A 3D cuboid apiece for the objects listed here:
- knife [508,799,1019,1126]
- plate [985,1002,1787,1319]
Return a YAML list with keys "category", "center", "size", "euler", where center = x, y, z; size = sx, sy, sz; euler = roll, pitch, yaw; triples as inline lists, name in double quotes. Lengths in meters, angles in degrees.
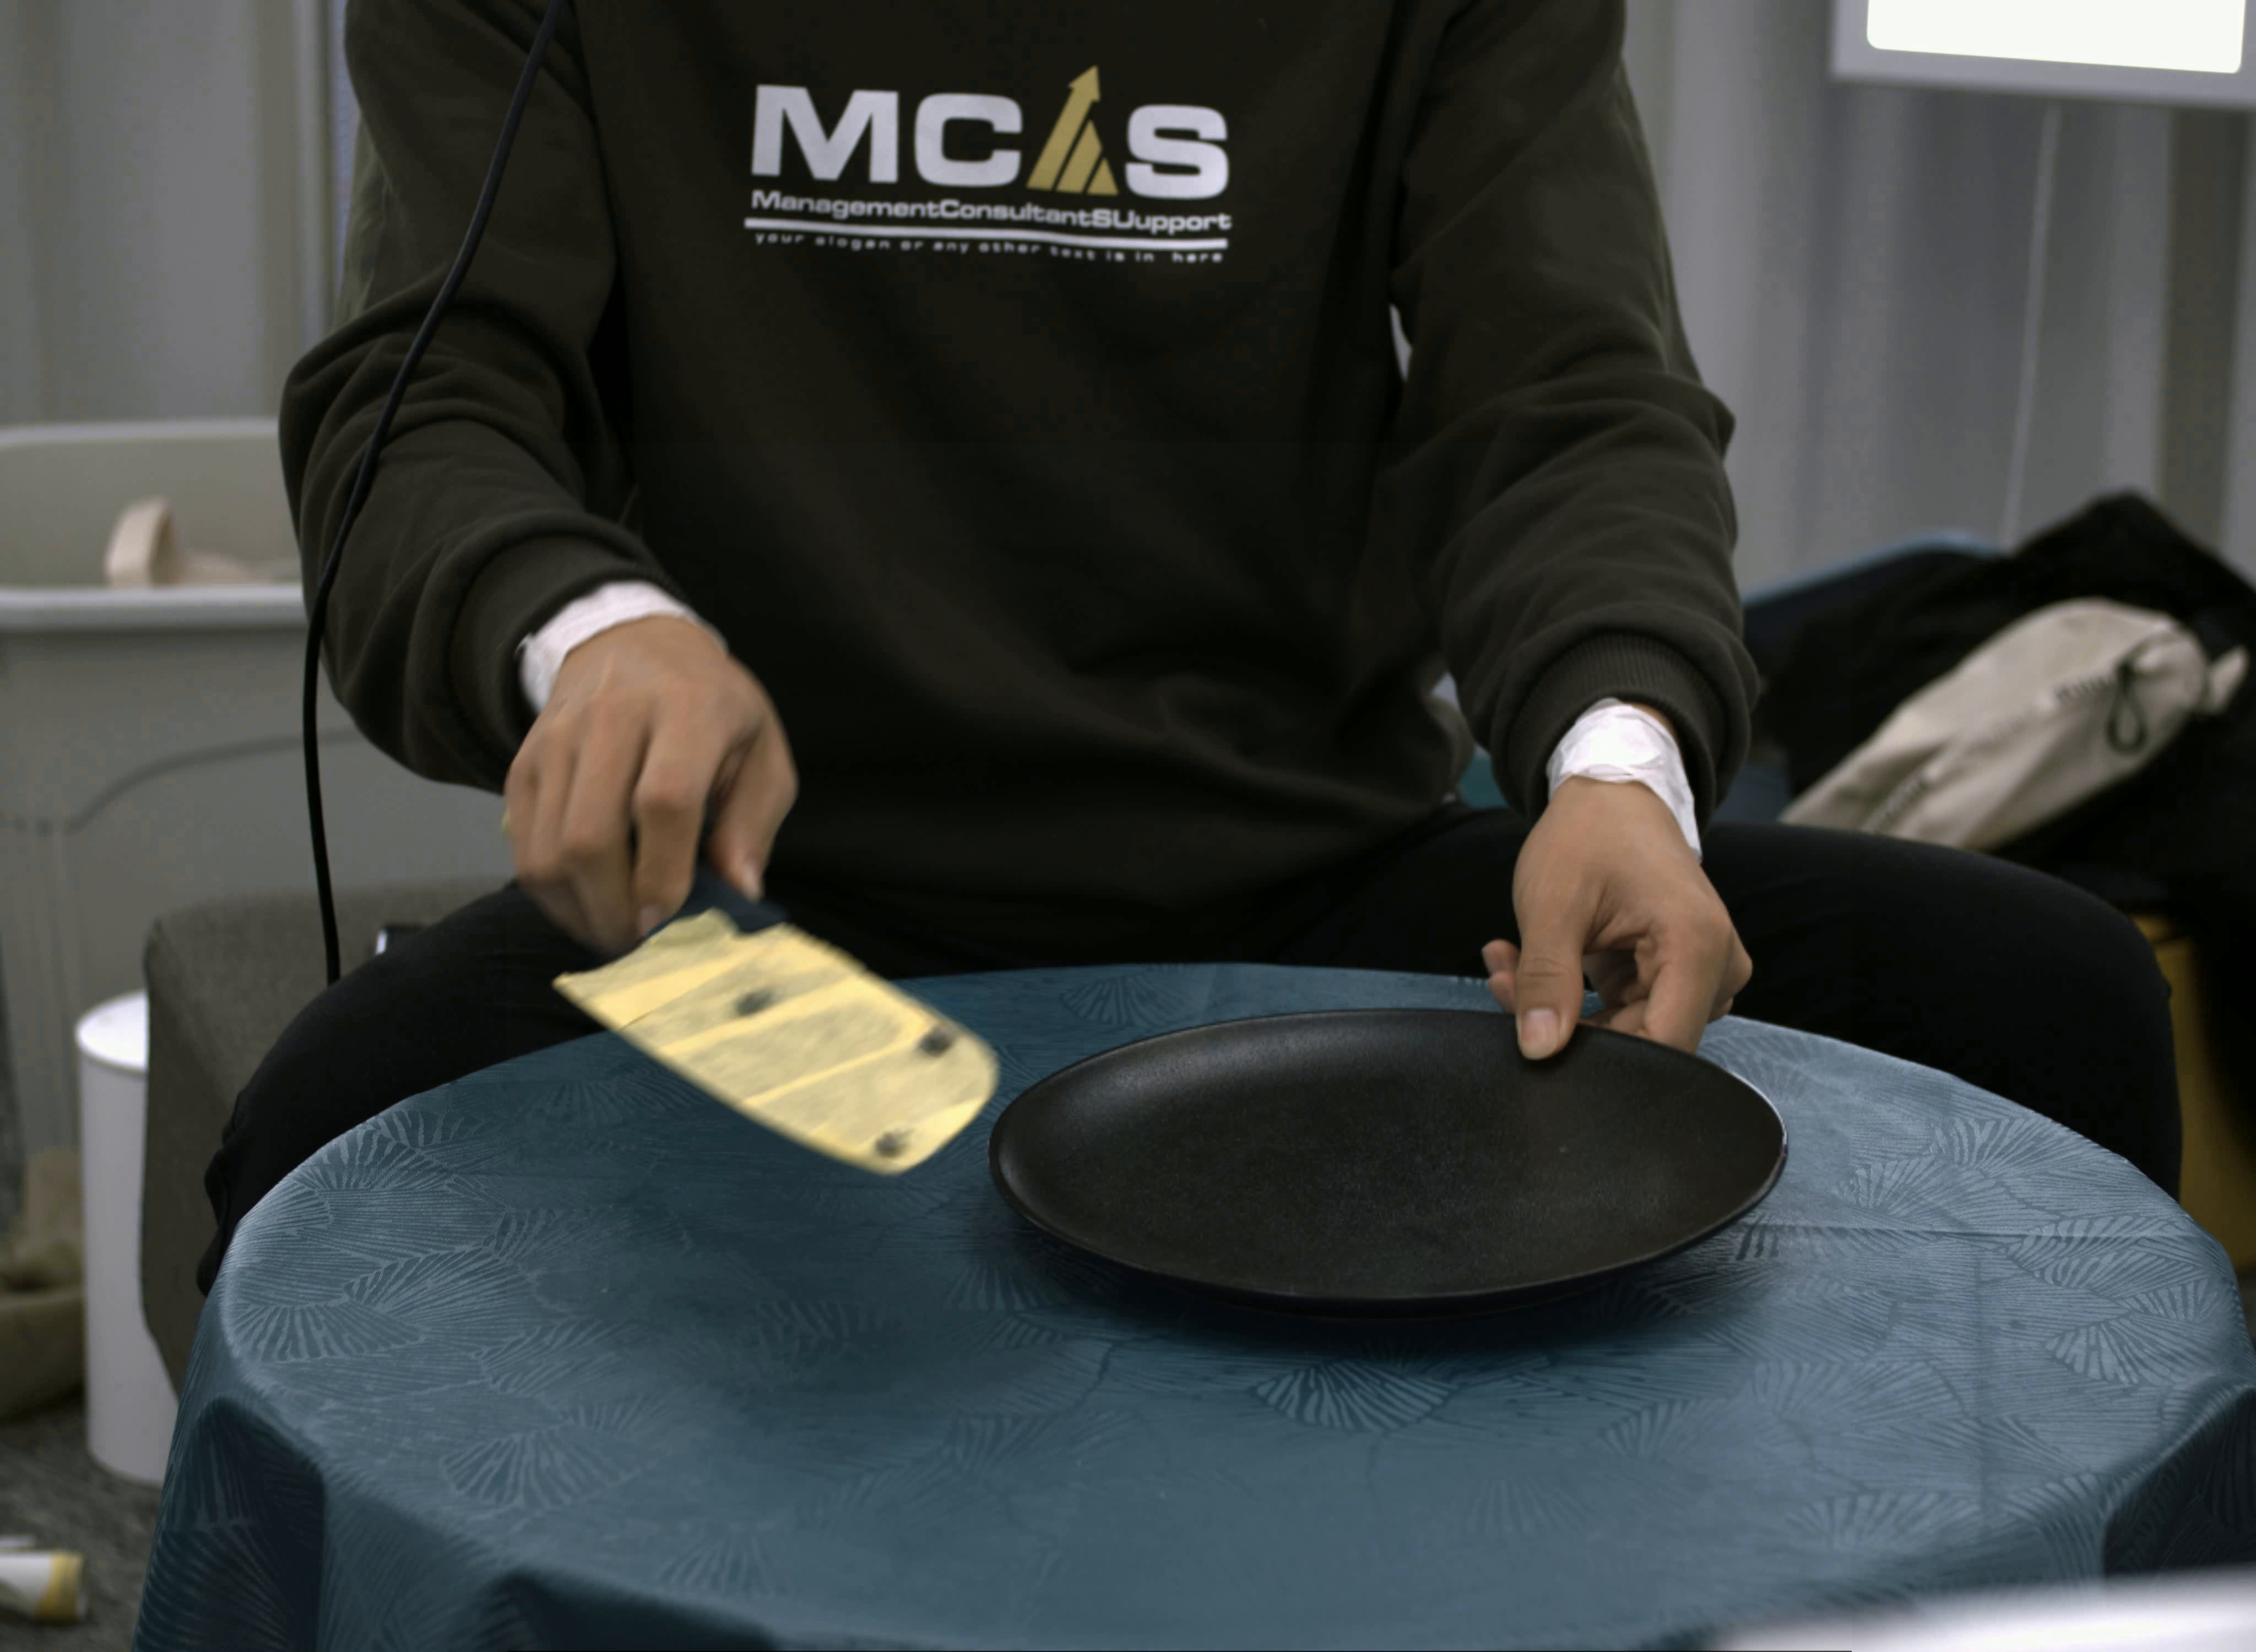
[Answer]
- category: "knife"
  center: [-0.121, 0.041, 1.548]
  size: [0.081, 0.027, 0.285]
  euler: [-16, 24, -29]
- category: "plate"
  center: [0.078, 0.104, 1.595]
  size: [0.243, 0.023, 0.243]
  euler: [-1, 18, 1]
